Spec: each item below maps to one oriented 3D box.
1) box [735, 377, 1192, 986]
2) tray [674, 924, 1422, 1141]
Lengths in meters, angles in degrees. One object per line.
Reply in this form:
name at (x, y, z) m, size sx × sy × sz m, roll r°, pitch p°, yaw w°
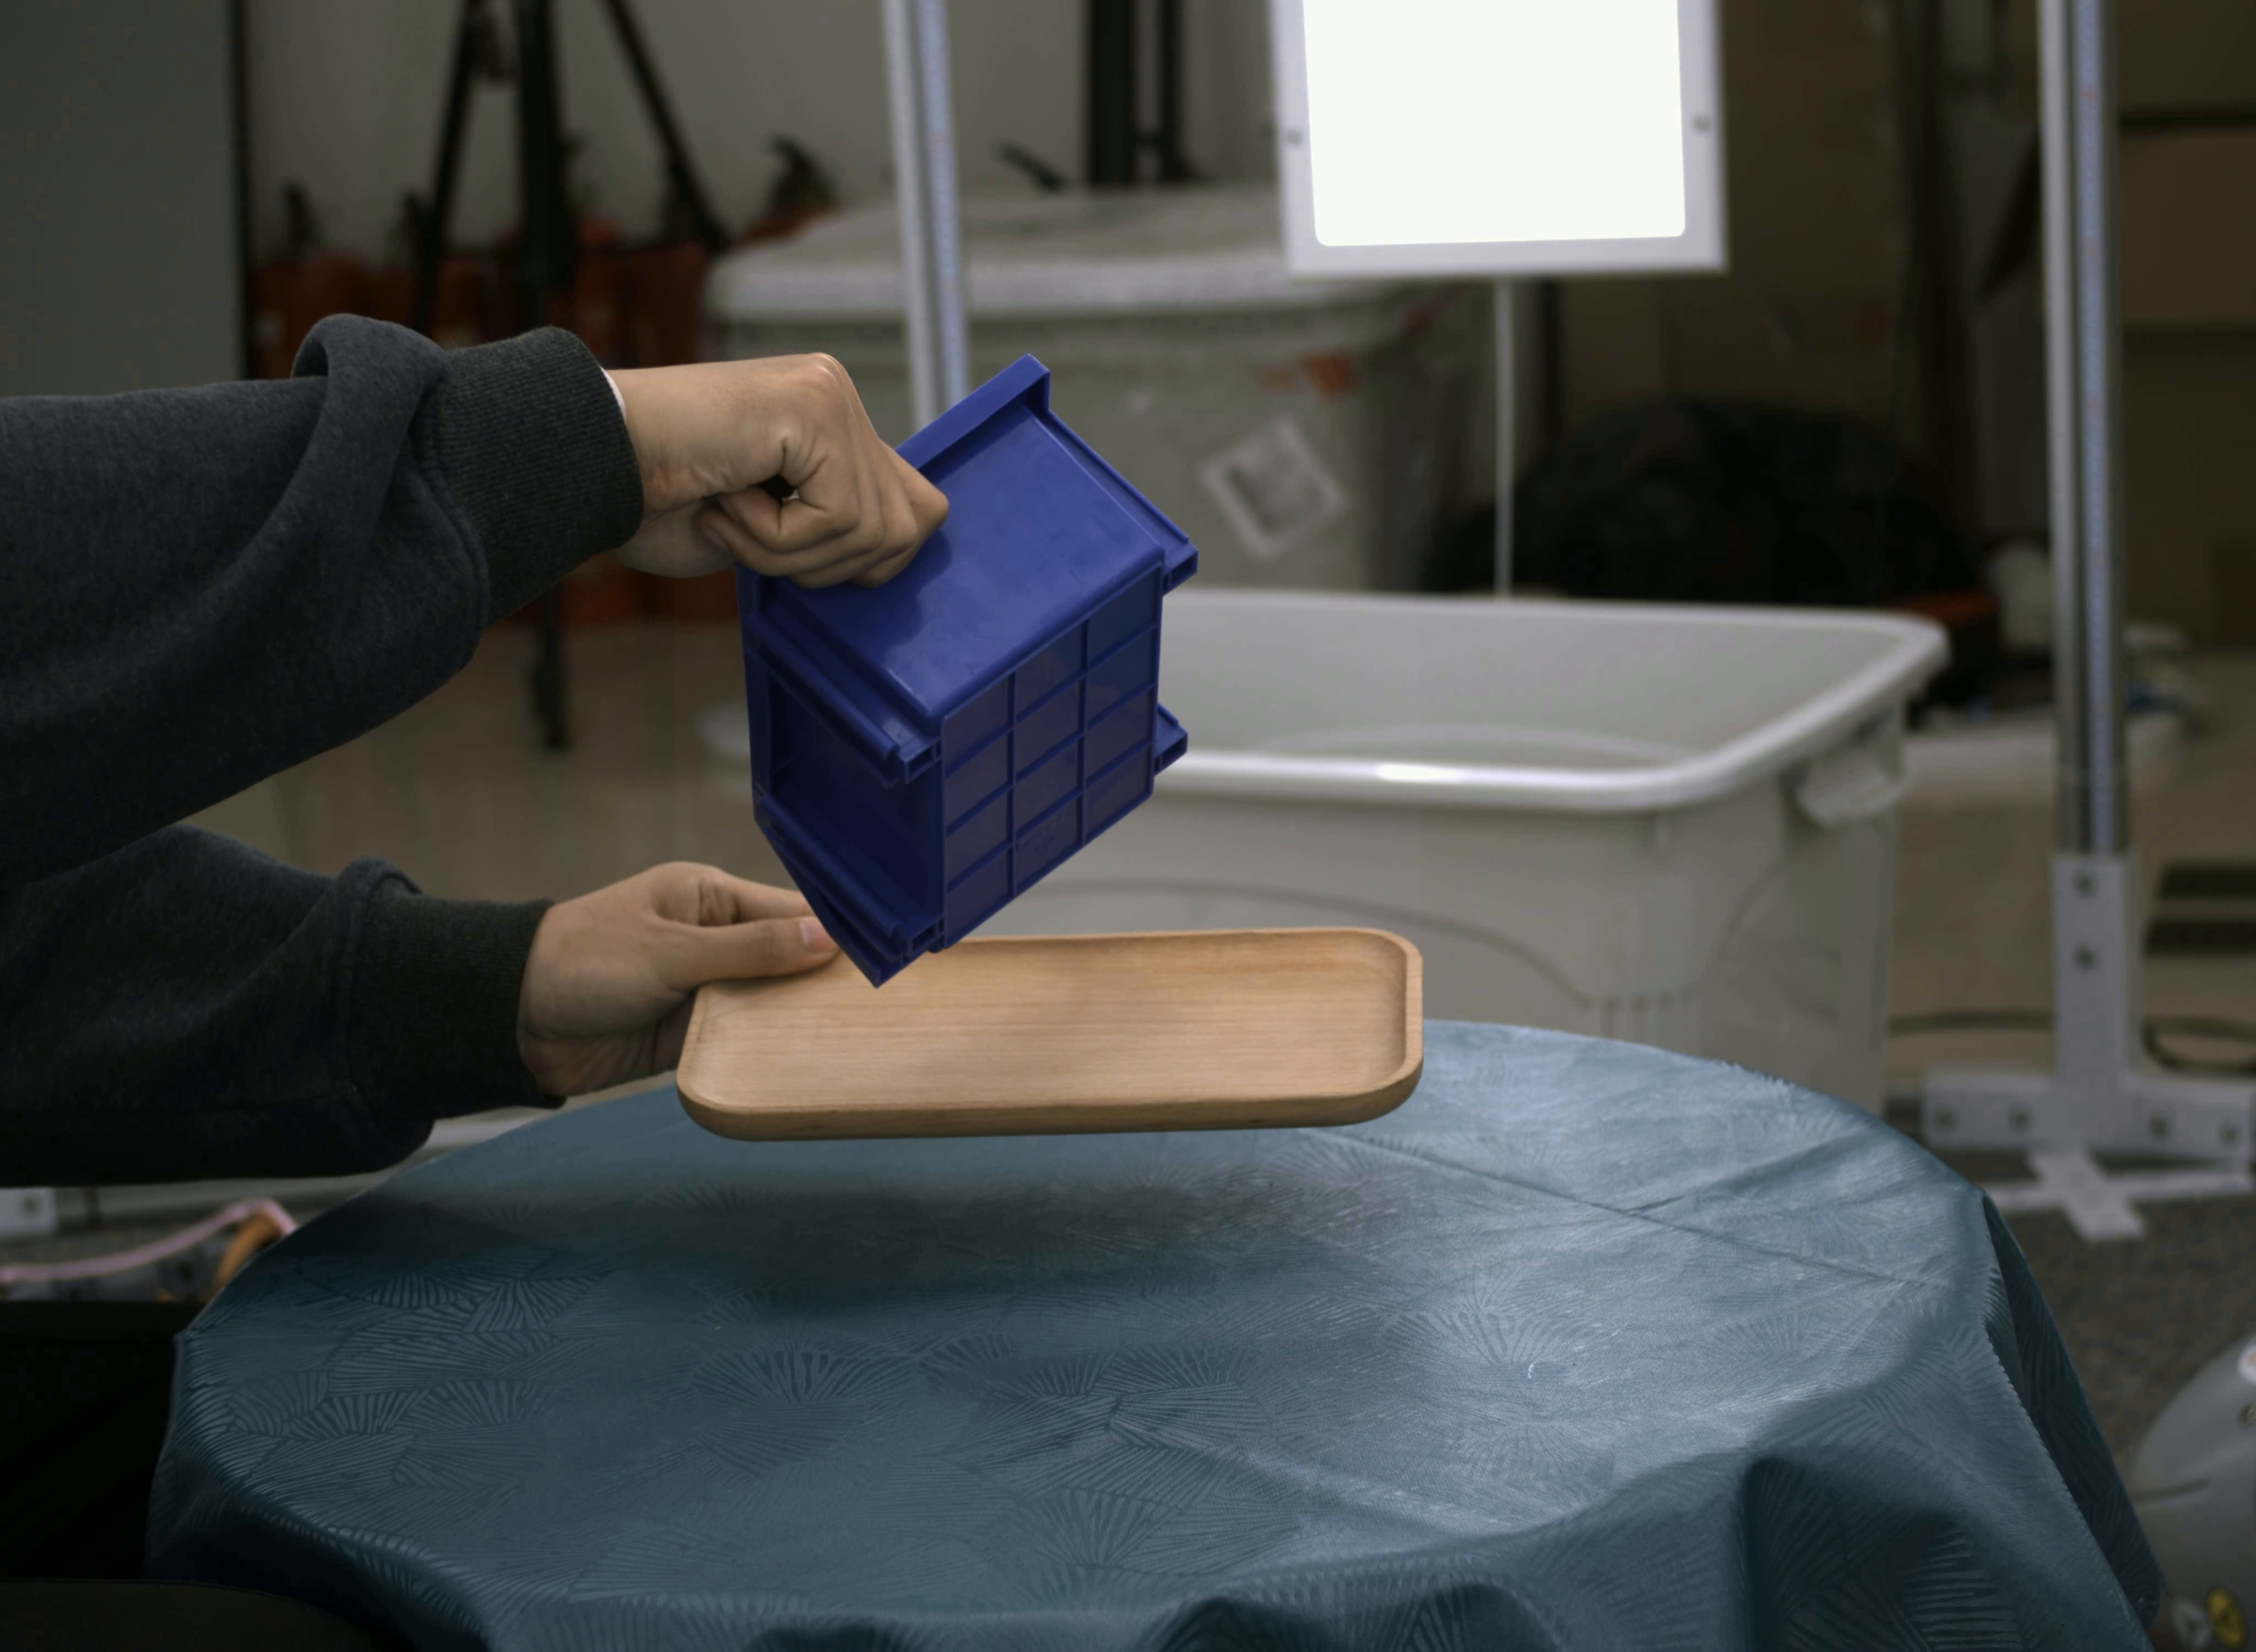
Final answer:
box at (-0.053, -0.037, 1.756) m, size 0.123 × 0.180 × 0.082 m, roll -37°, pitch 69°, yaw -19°
tray at (-0.025, 0.070, 1.862) m, size 0.251 × 0.023 × 0.129 m, roll -2°, pitch 23°, yaw 7°
